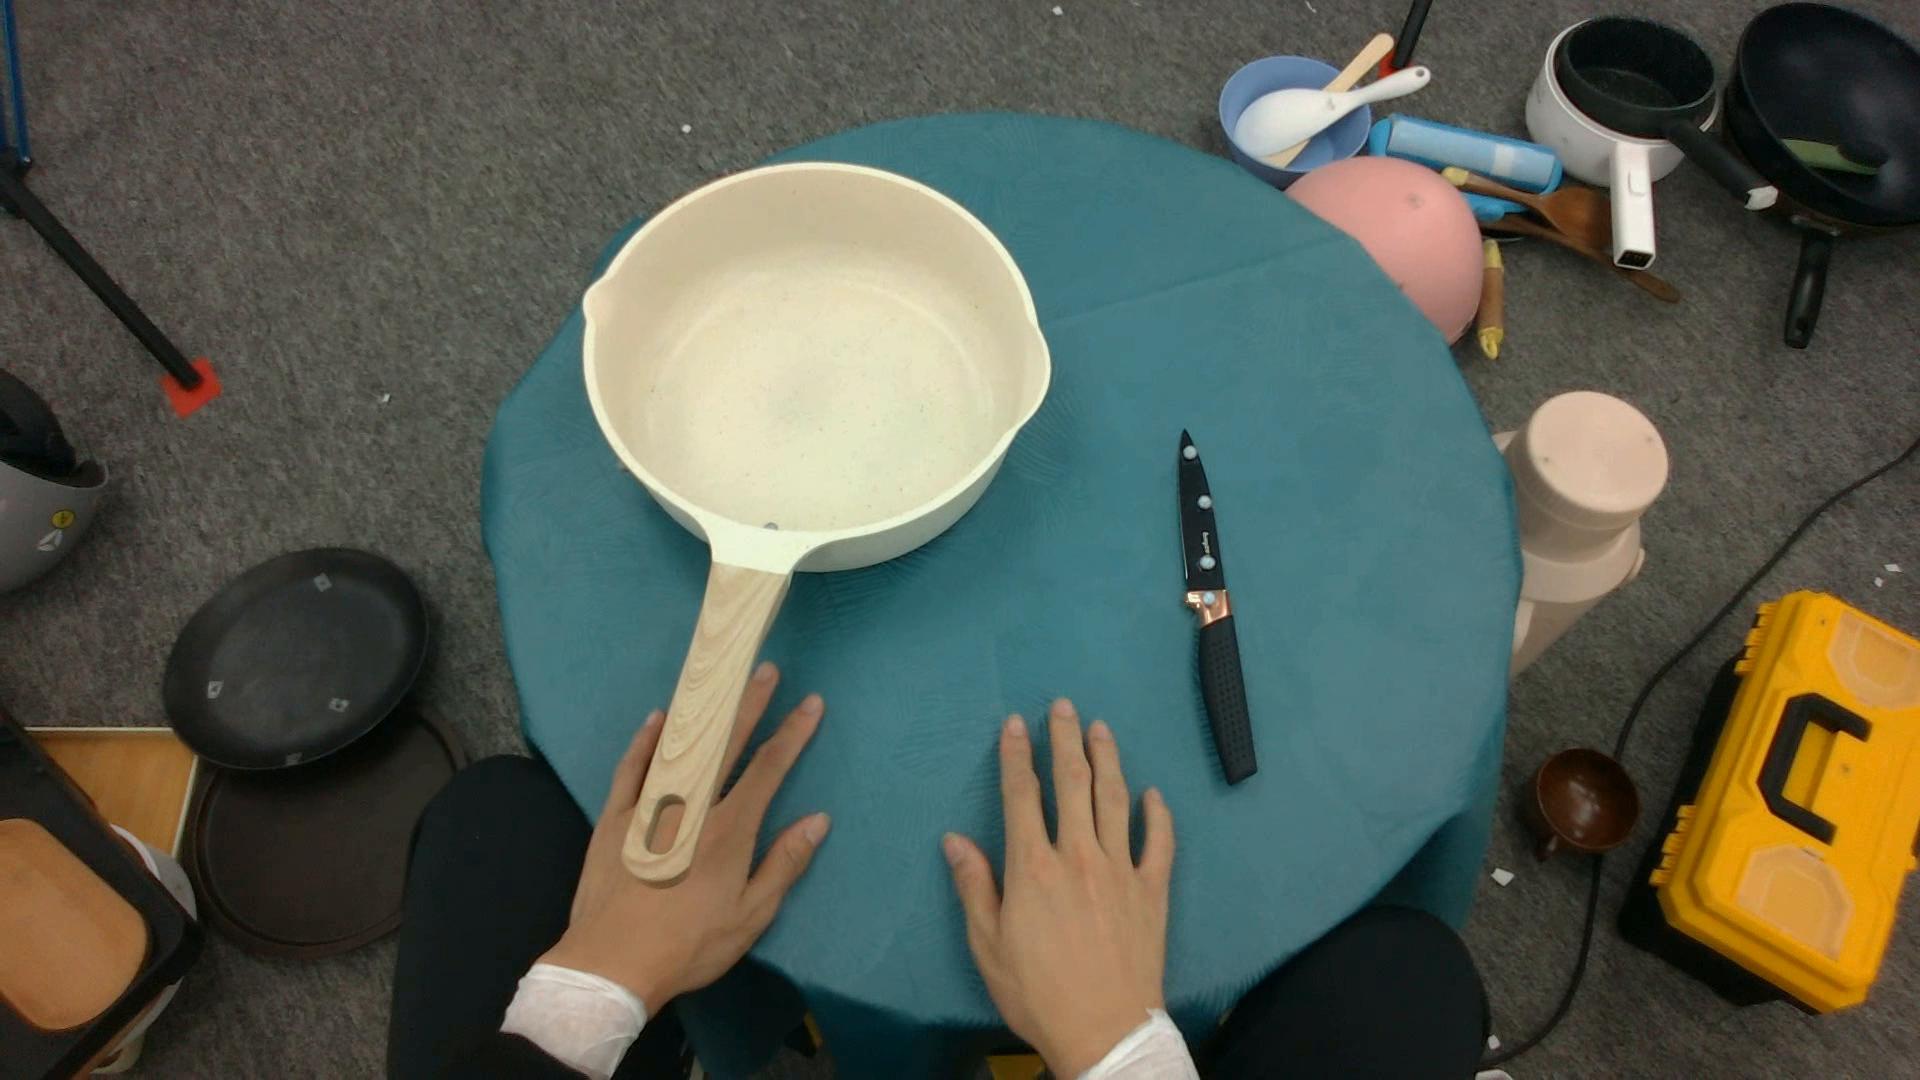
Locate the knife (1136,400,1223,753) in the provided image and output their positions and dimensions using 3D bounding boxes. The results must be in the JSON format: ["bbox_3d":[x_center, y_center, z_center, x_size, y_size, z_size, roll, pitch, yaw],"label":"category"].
[{"bbox_3d":[0.125,0.014,0.791,0.026,0.017,0.226,-9,63,9],"label":"knife"}]

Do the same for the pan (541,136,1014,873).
[{"bbox_3d":[-0.117,-0.029,0.748,0.263,0.101,0.436,10,64,0],"label":"pan"}]
